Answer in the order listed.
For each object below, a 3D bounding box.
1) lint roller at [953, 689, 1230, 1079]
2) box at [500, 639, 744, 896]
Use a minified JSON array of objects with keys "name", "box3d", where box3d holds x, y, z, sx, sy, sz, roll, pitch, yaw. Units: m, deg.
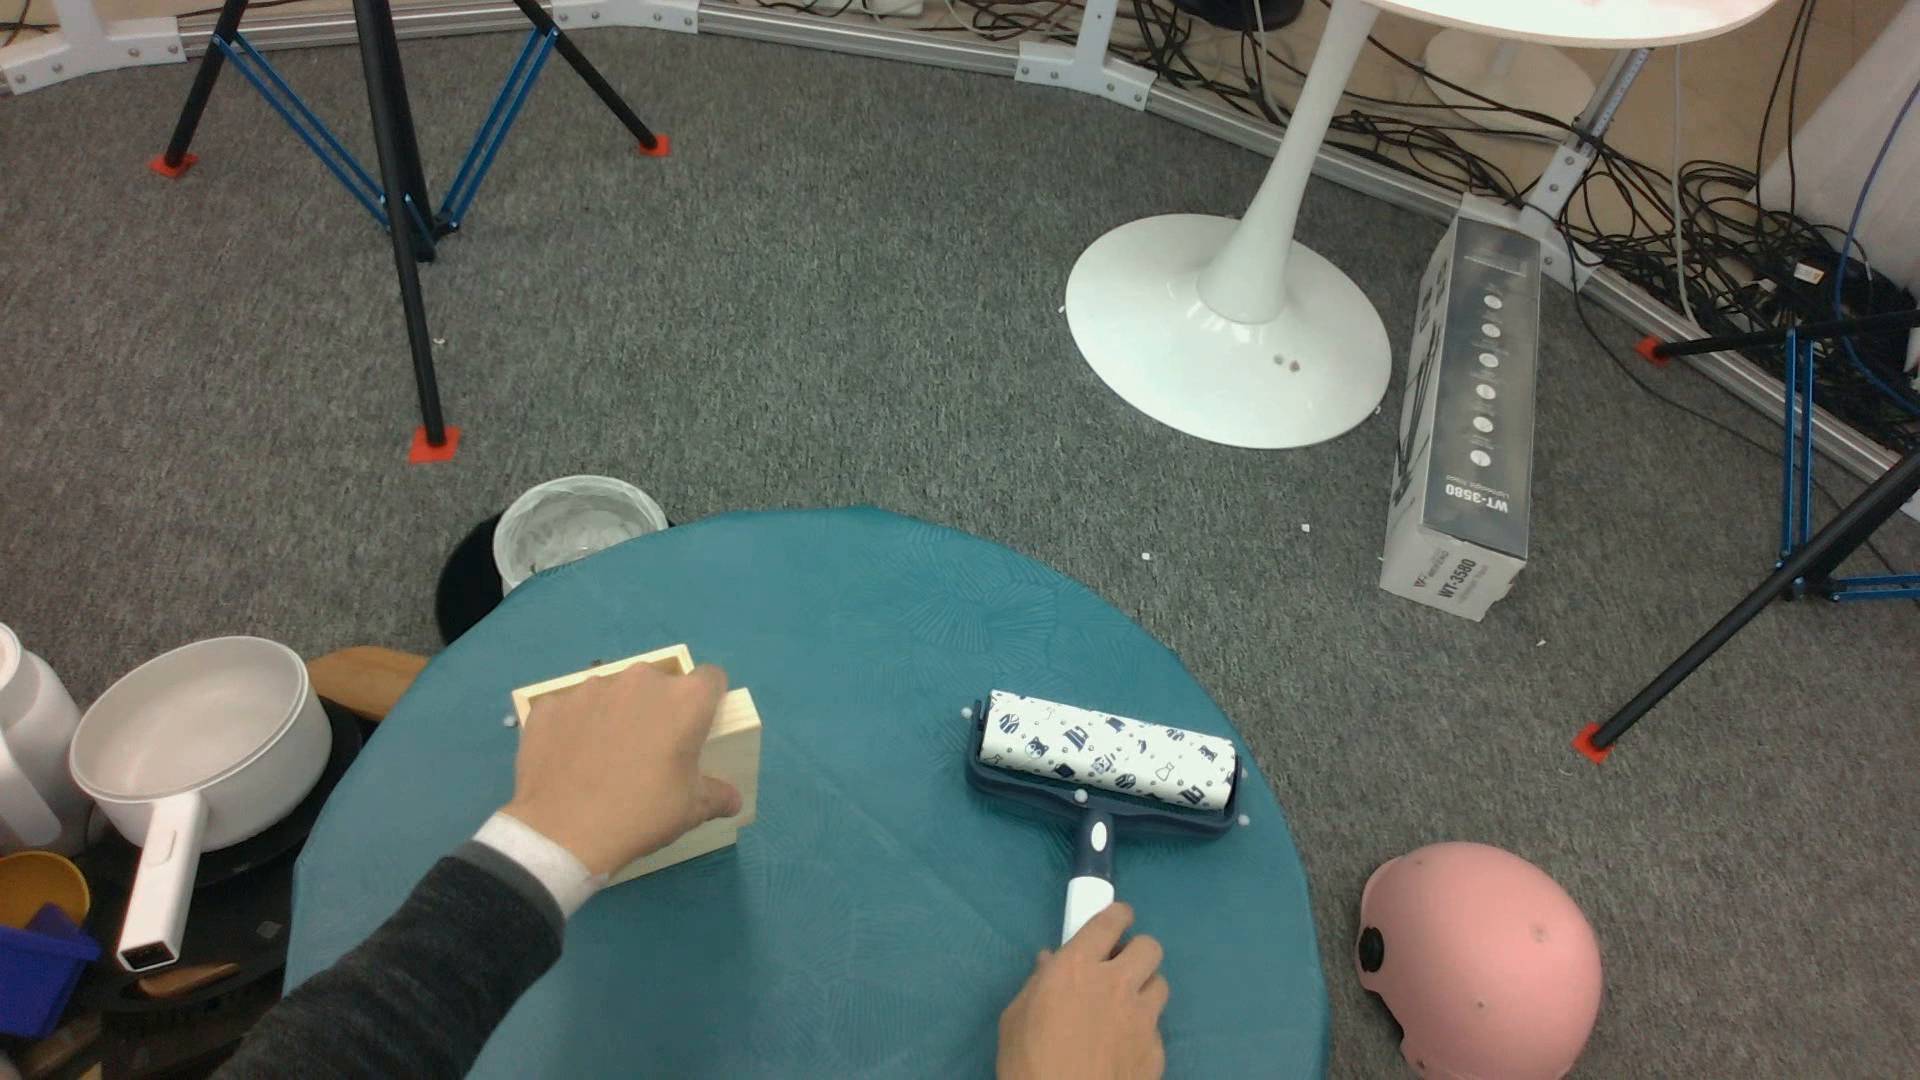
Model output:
[{"name":"lint roller","box3d":[0.074,0.210,0.819,0.176,0.050,0.248,11,51,-4]},{"name":"box","box3d":[-0.190,0.108,0.759,0.103,0.183,0.134,-16,58,-22]}]
